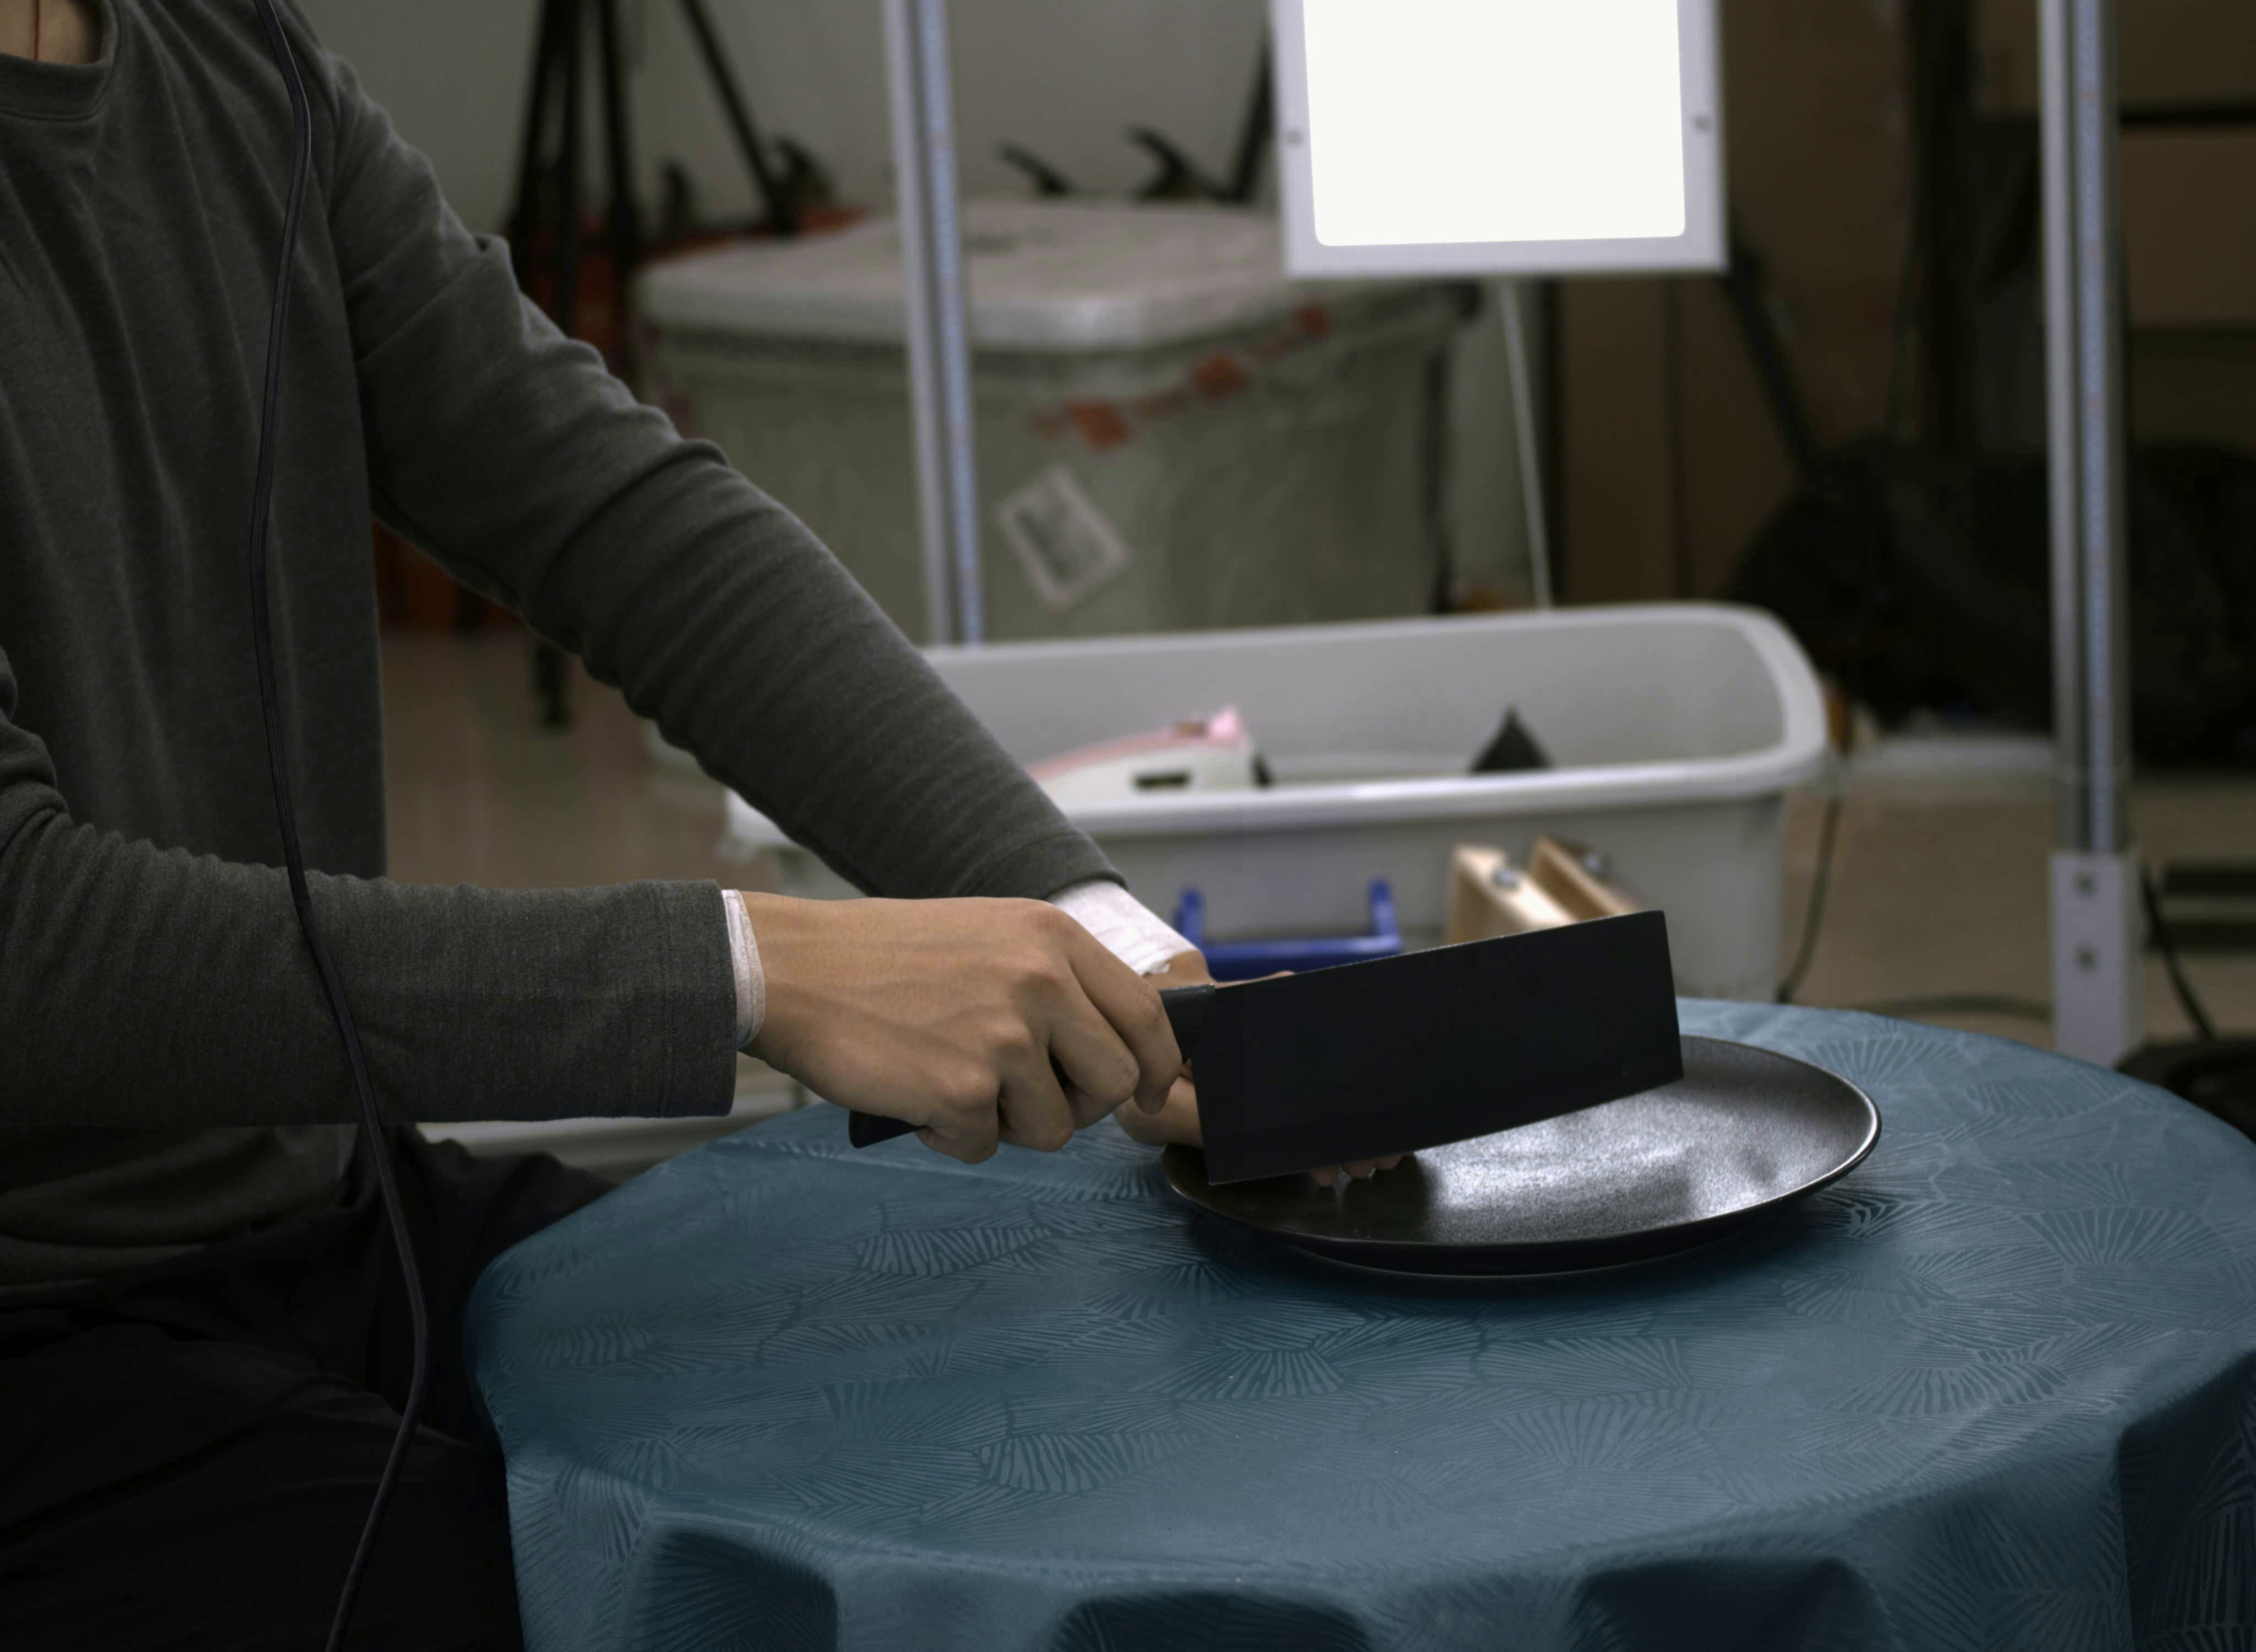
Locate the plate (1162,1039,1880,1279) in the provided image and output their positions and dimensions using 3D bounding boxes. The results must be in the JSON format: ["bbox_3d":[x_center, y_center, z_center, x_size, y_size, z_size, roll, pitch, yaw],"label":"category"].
[{"bbox_3d":[0.133,0.113,1.859,0.244,0.023,0.244,-5,14,0],"label":"plate"}]

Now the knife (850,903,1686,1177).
[{"bbox_3d":[0.051,0.078,1.836,0.297,0.081,0.021,-5,3,-18],"label":"knife"}]
